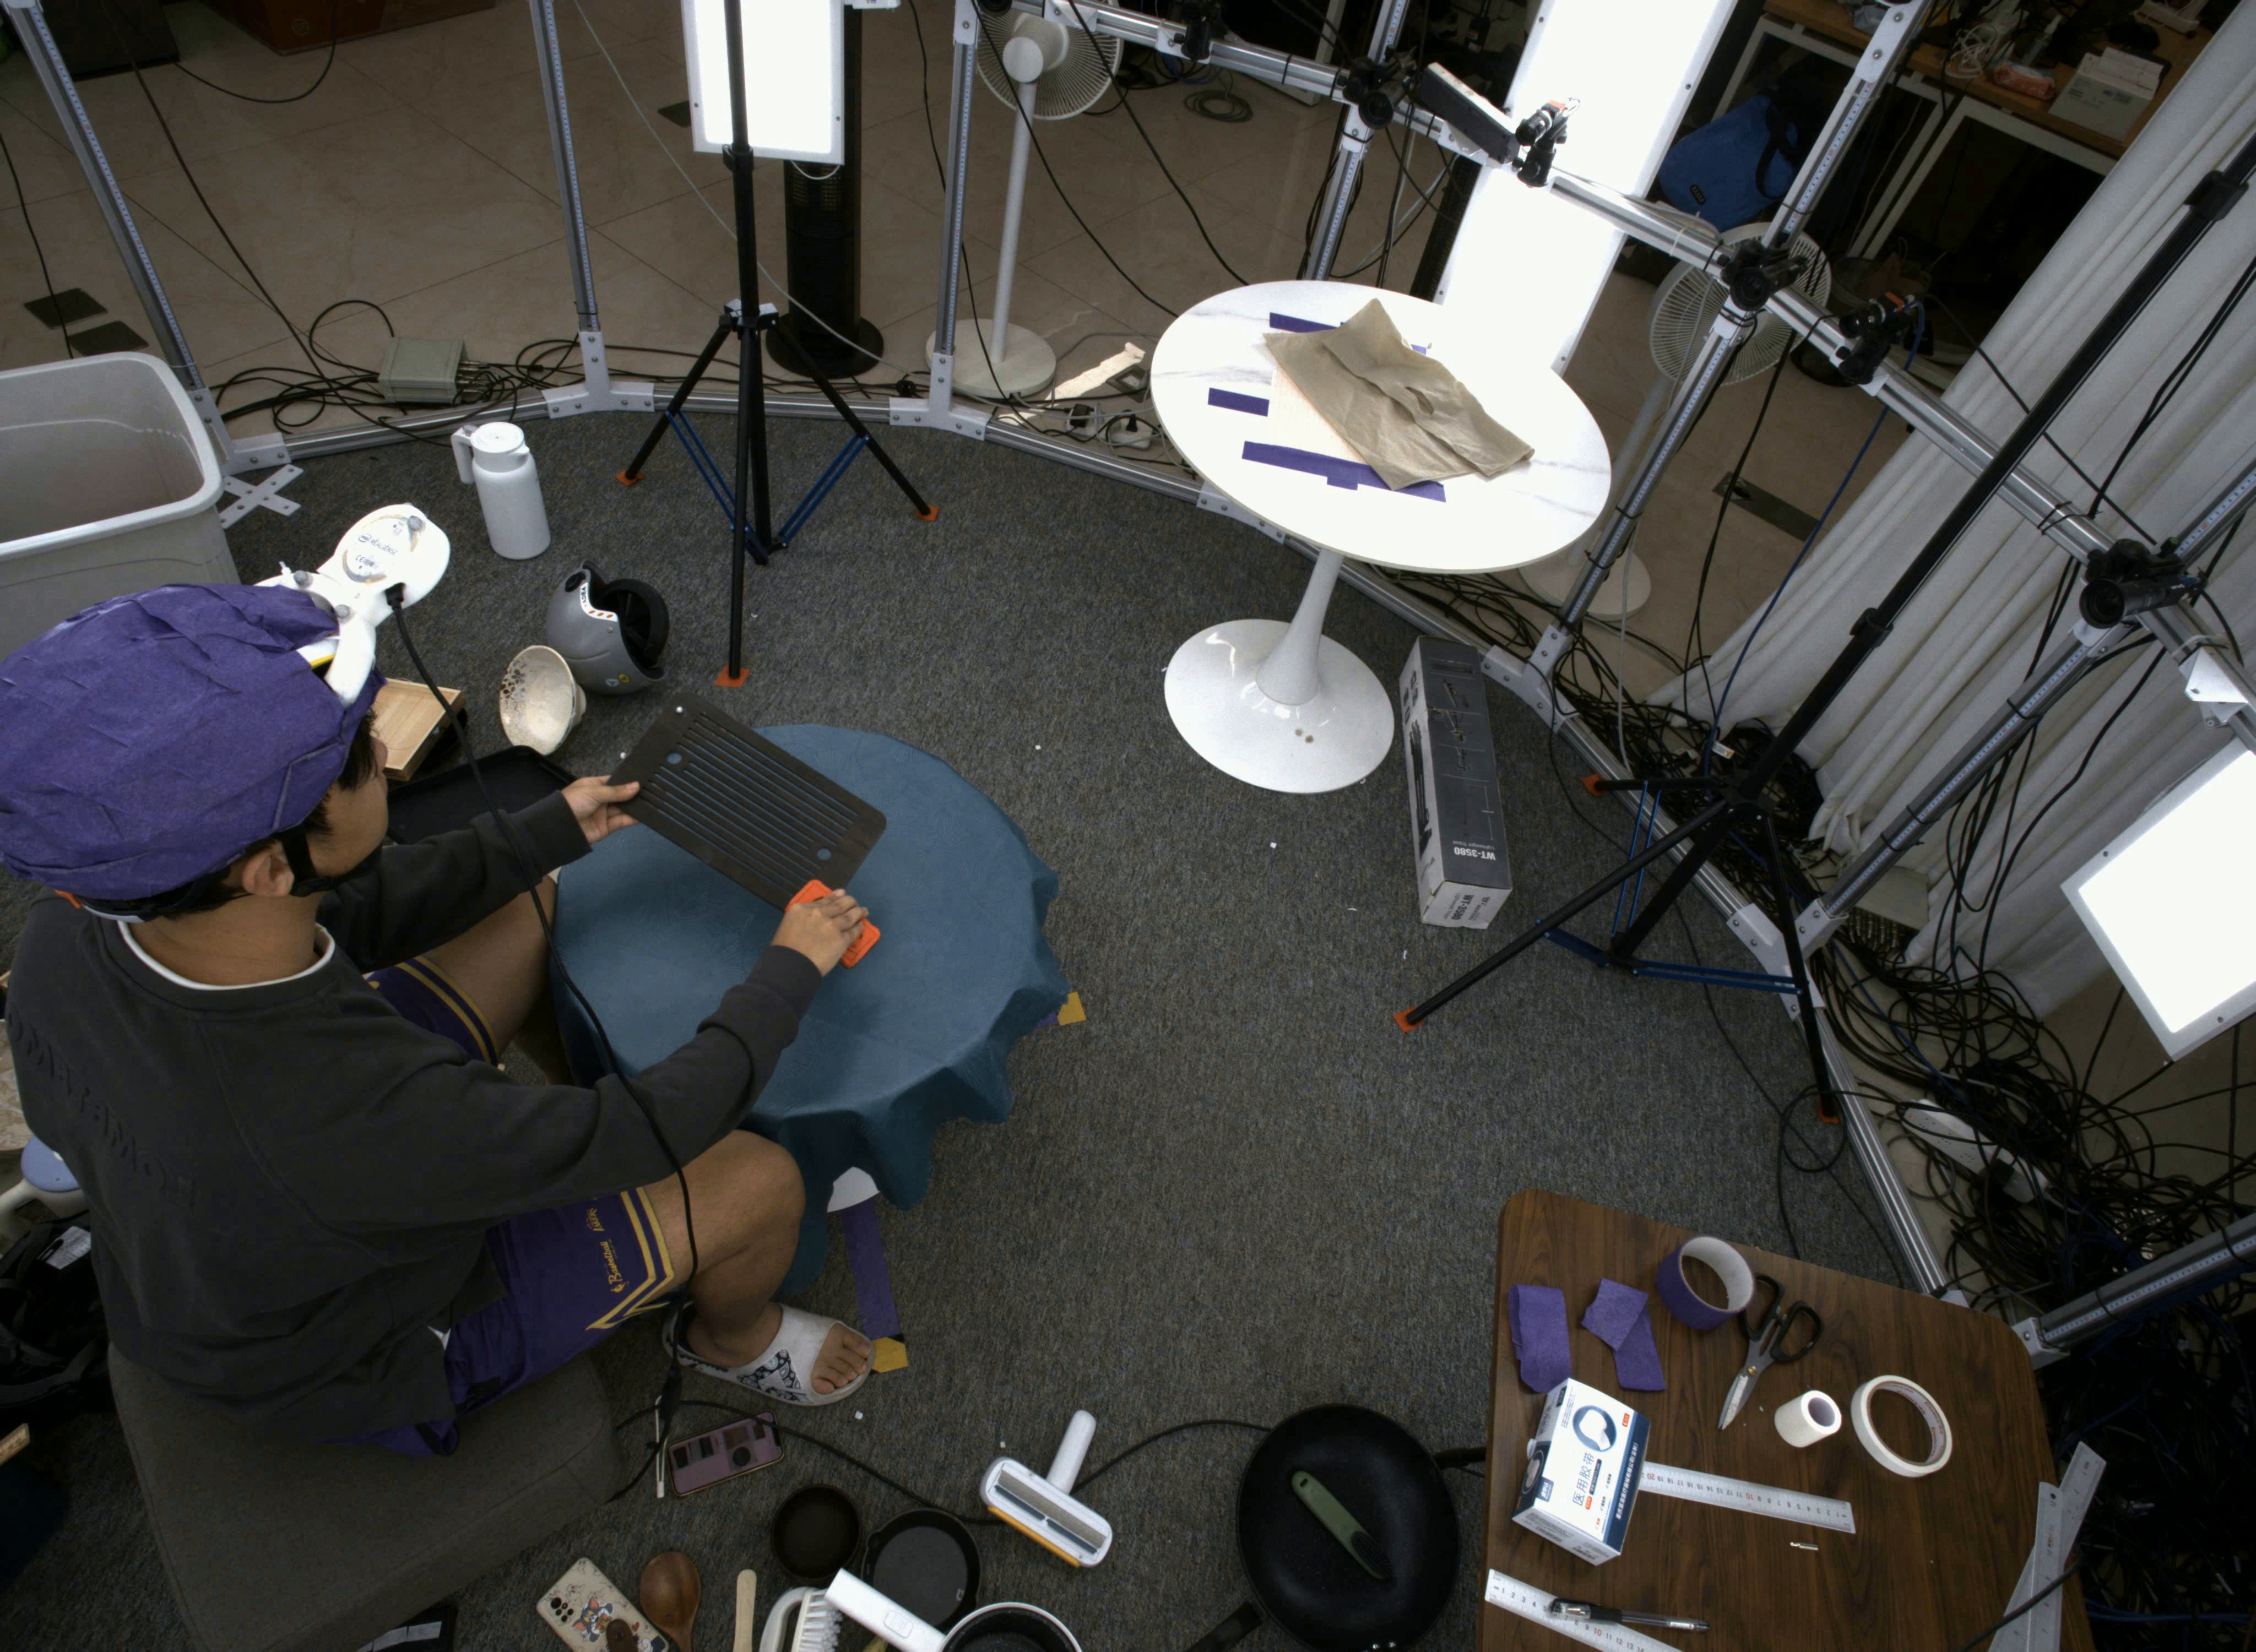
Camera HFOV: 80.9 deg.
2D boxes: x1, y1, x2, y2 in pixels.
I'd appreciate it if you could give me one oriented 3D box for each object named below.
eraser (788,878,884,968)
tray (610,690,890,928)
[{"bbox_3d":[-0.346,0.113,1.537,0.108,0.023,0.059,39,62,-1],"label":"eraser"},{"bbox_3d":[-0.458,-0.021,1.567,0.307,0.018,0.170,33,69,-6],"label":"tray"}]
